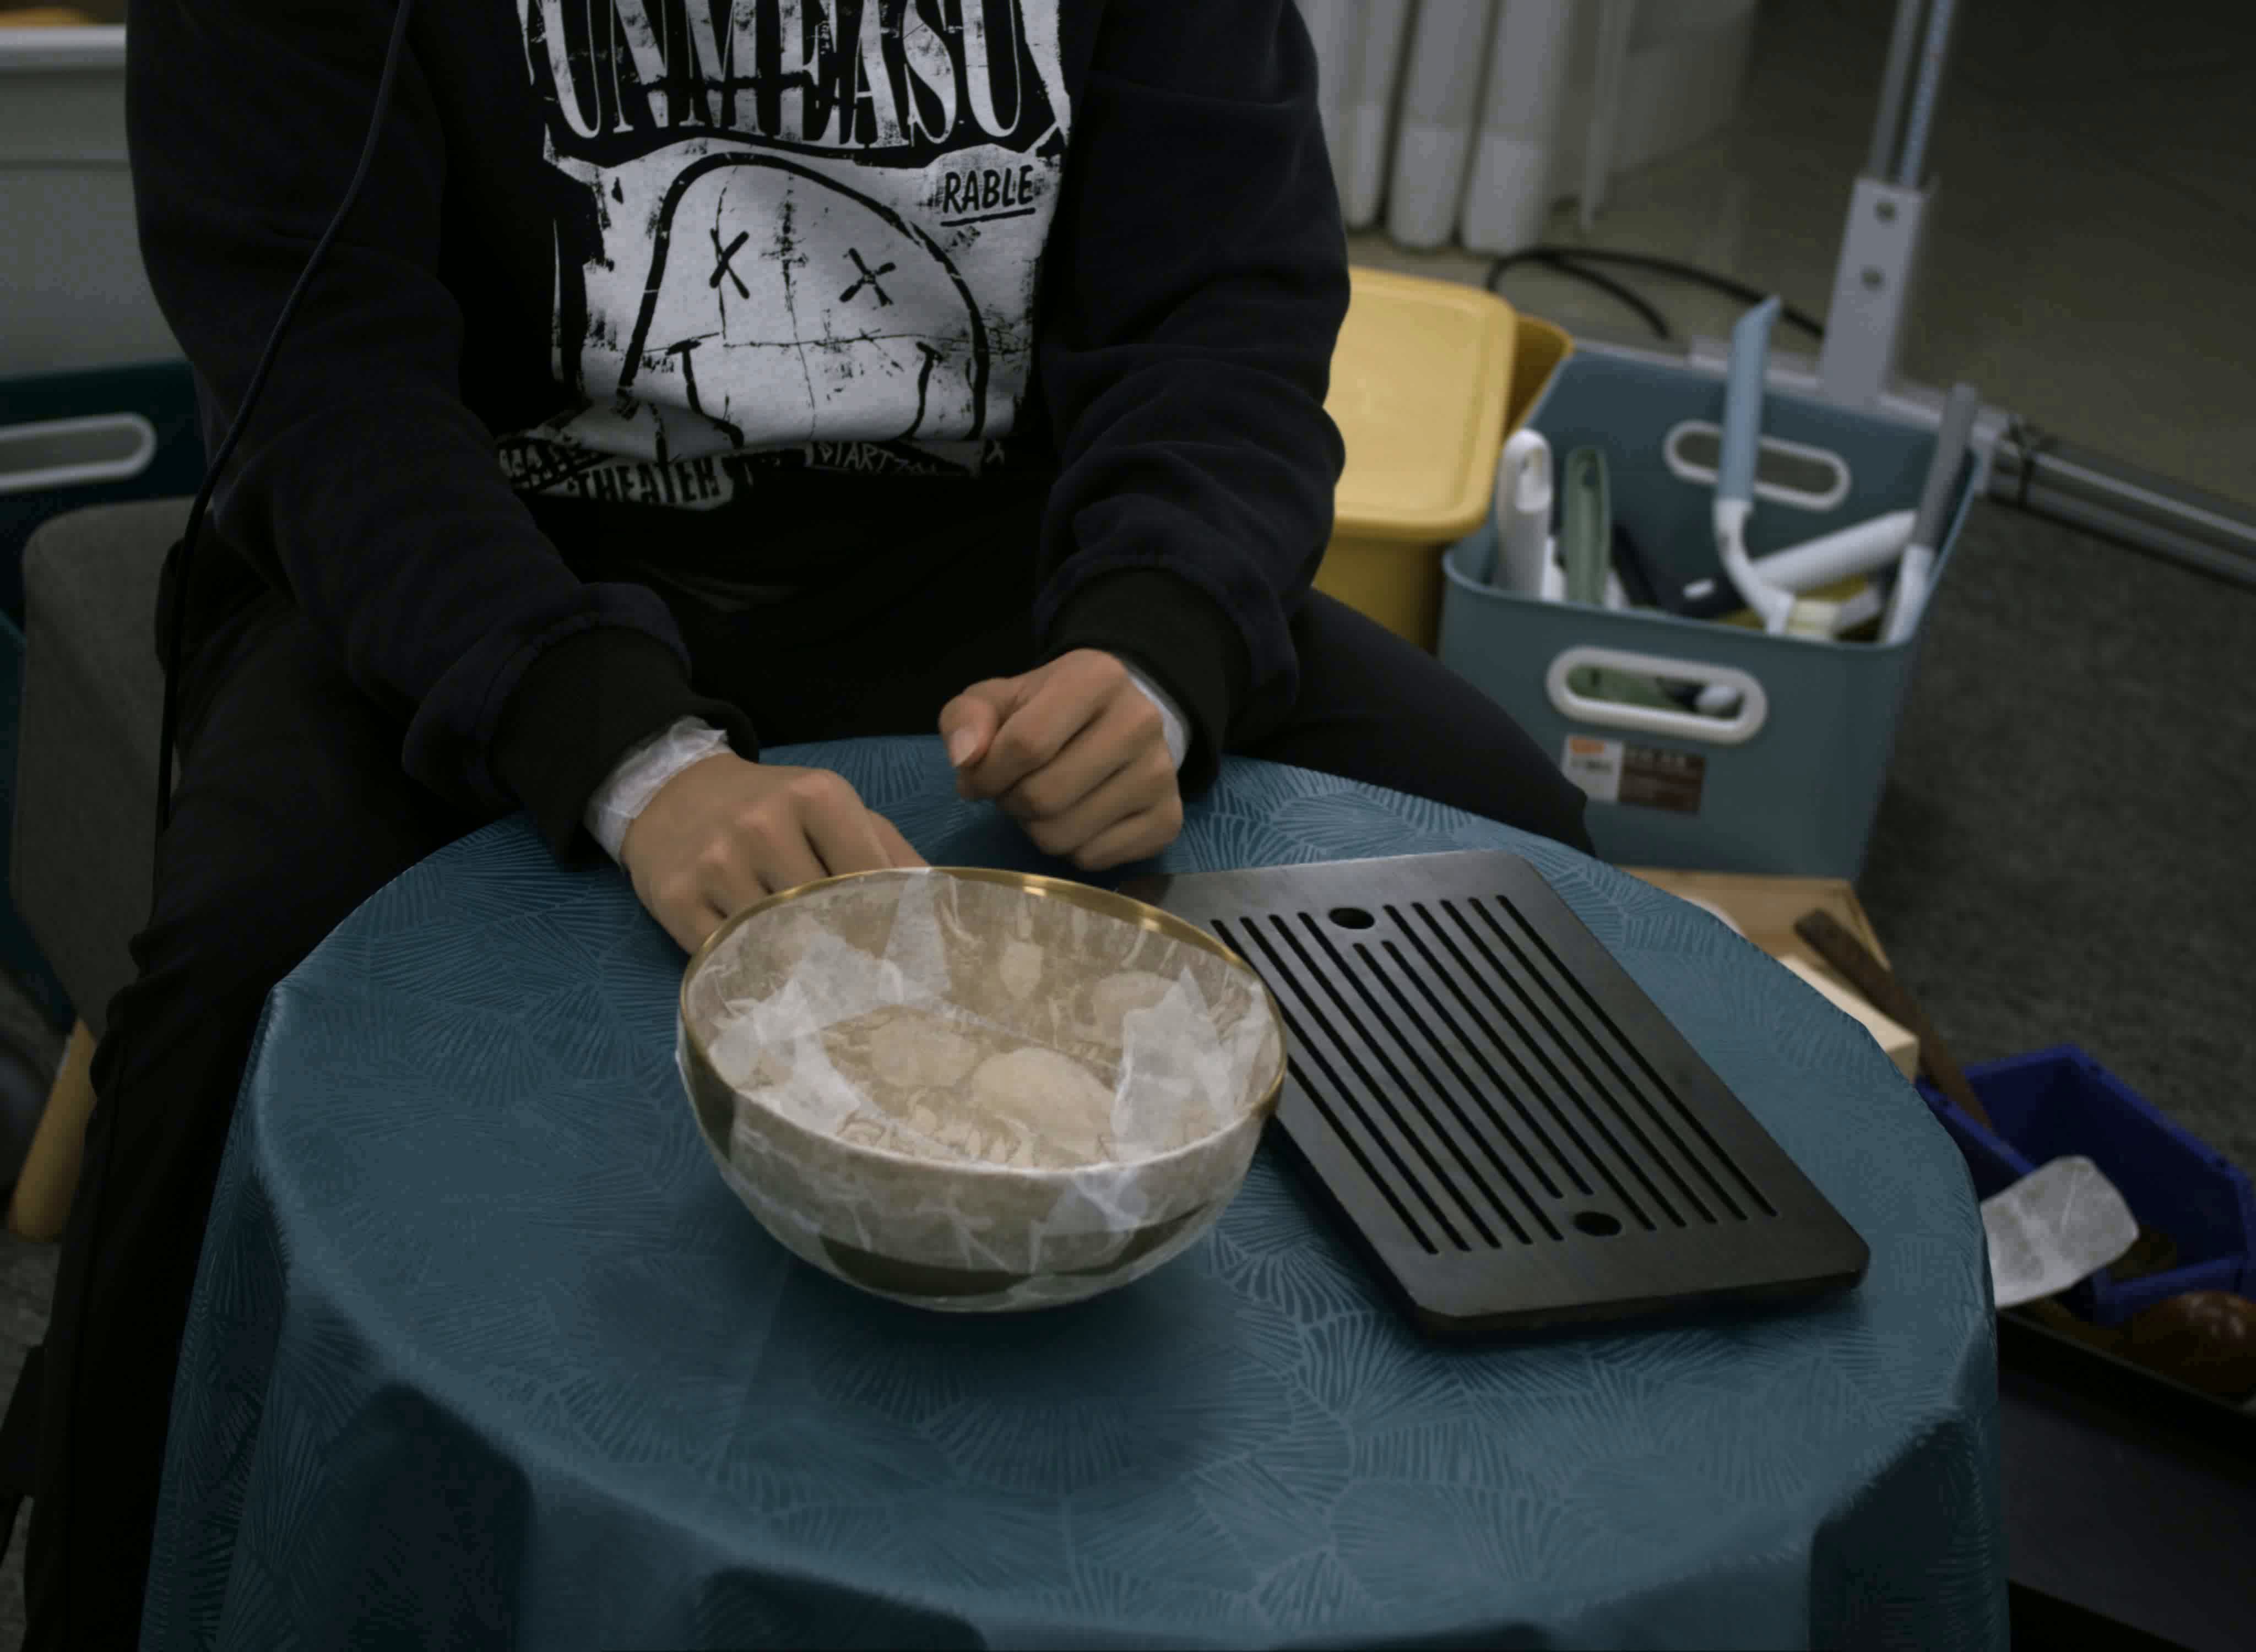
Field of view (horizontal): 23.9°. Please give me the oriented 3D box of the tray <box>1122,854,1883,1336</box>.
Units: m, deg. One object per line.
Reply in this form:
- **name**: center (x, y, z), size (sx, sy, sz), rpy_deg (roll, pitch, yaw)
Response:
- **tray**: center (0.125, 0.092, 1.873), size (0.169, 0.018, 0.308), rpy_deg (-4, 28, -21)

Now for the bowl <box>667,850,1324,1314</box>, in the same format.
- **bowl**: center (-0.048, 0.096, 1.741), size (0.214, 0.094, 0.216), rpy_deg (4, 27, -2)
